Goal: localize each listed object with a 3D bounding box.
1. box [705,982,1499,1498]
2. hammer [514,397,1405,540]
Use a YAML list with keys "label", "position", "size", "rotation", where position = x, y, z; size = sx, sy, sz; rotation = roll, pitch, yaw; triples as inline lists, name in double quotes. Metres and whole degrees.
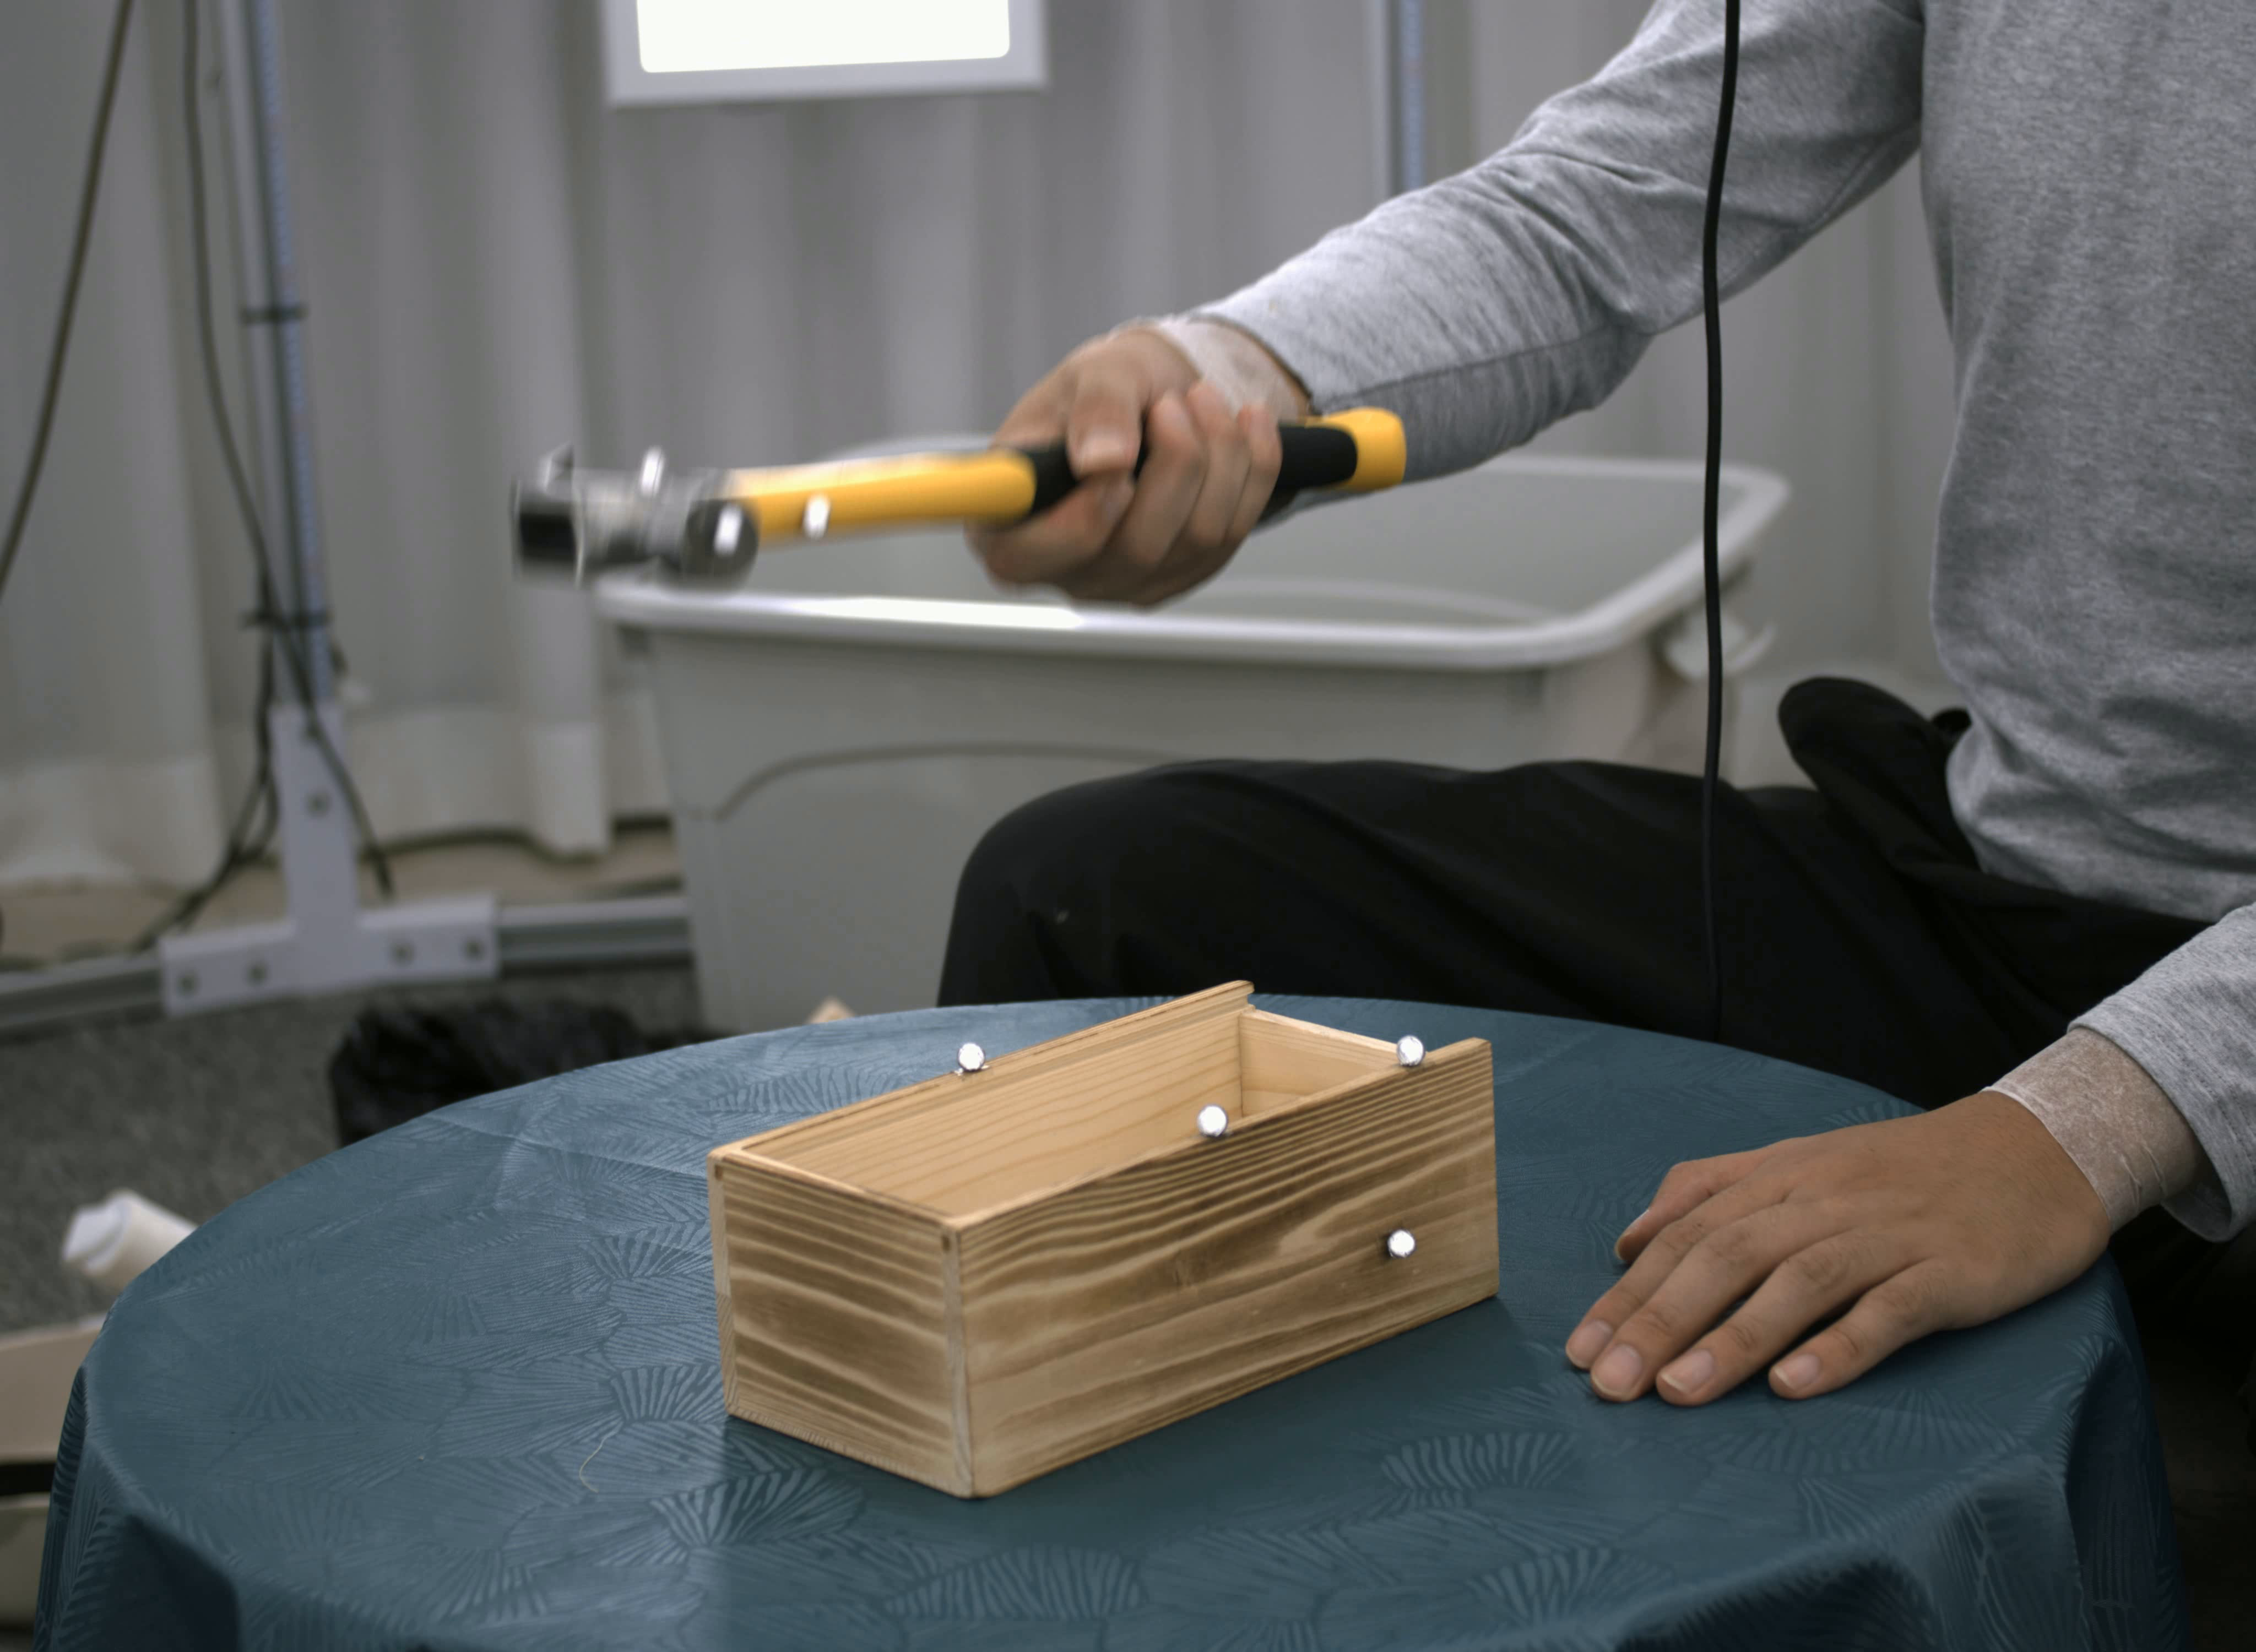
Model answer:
- label: "box"
  position: [-0.005, 0.114, 1.565]
  size: [0.211, 0.080, 0.108]
  rotation: [-17, 19, -41]
- label: "hammer"
  position: [-0.042, -0.114, 1.698]
  size: [0.337, 0.032, 0.132]
  rotation: [-7, 8, -41]
